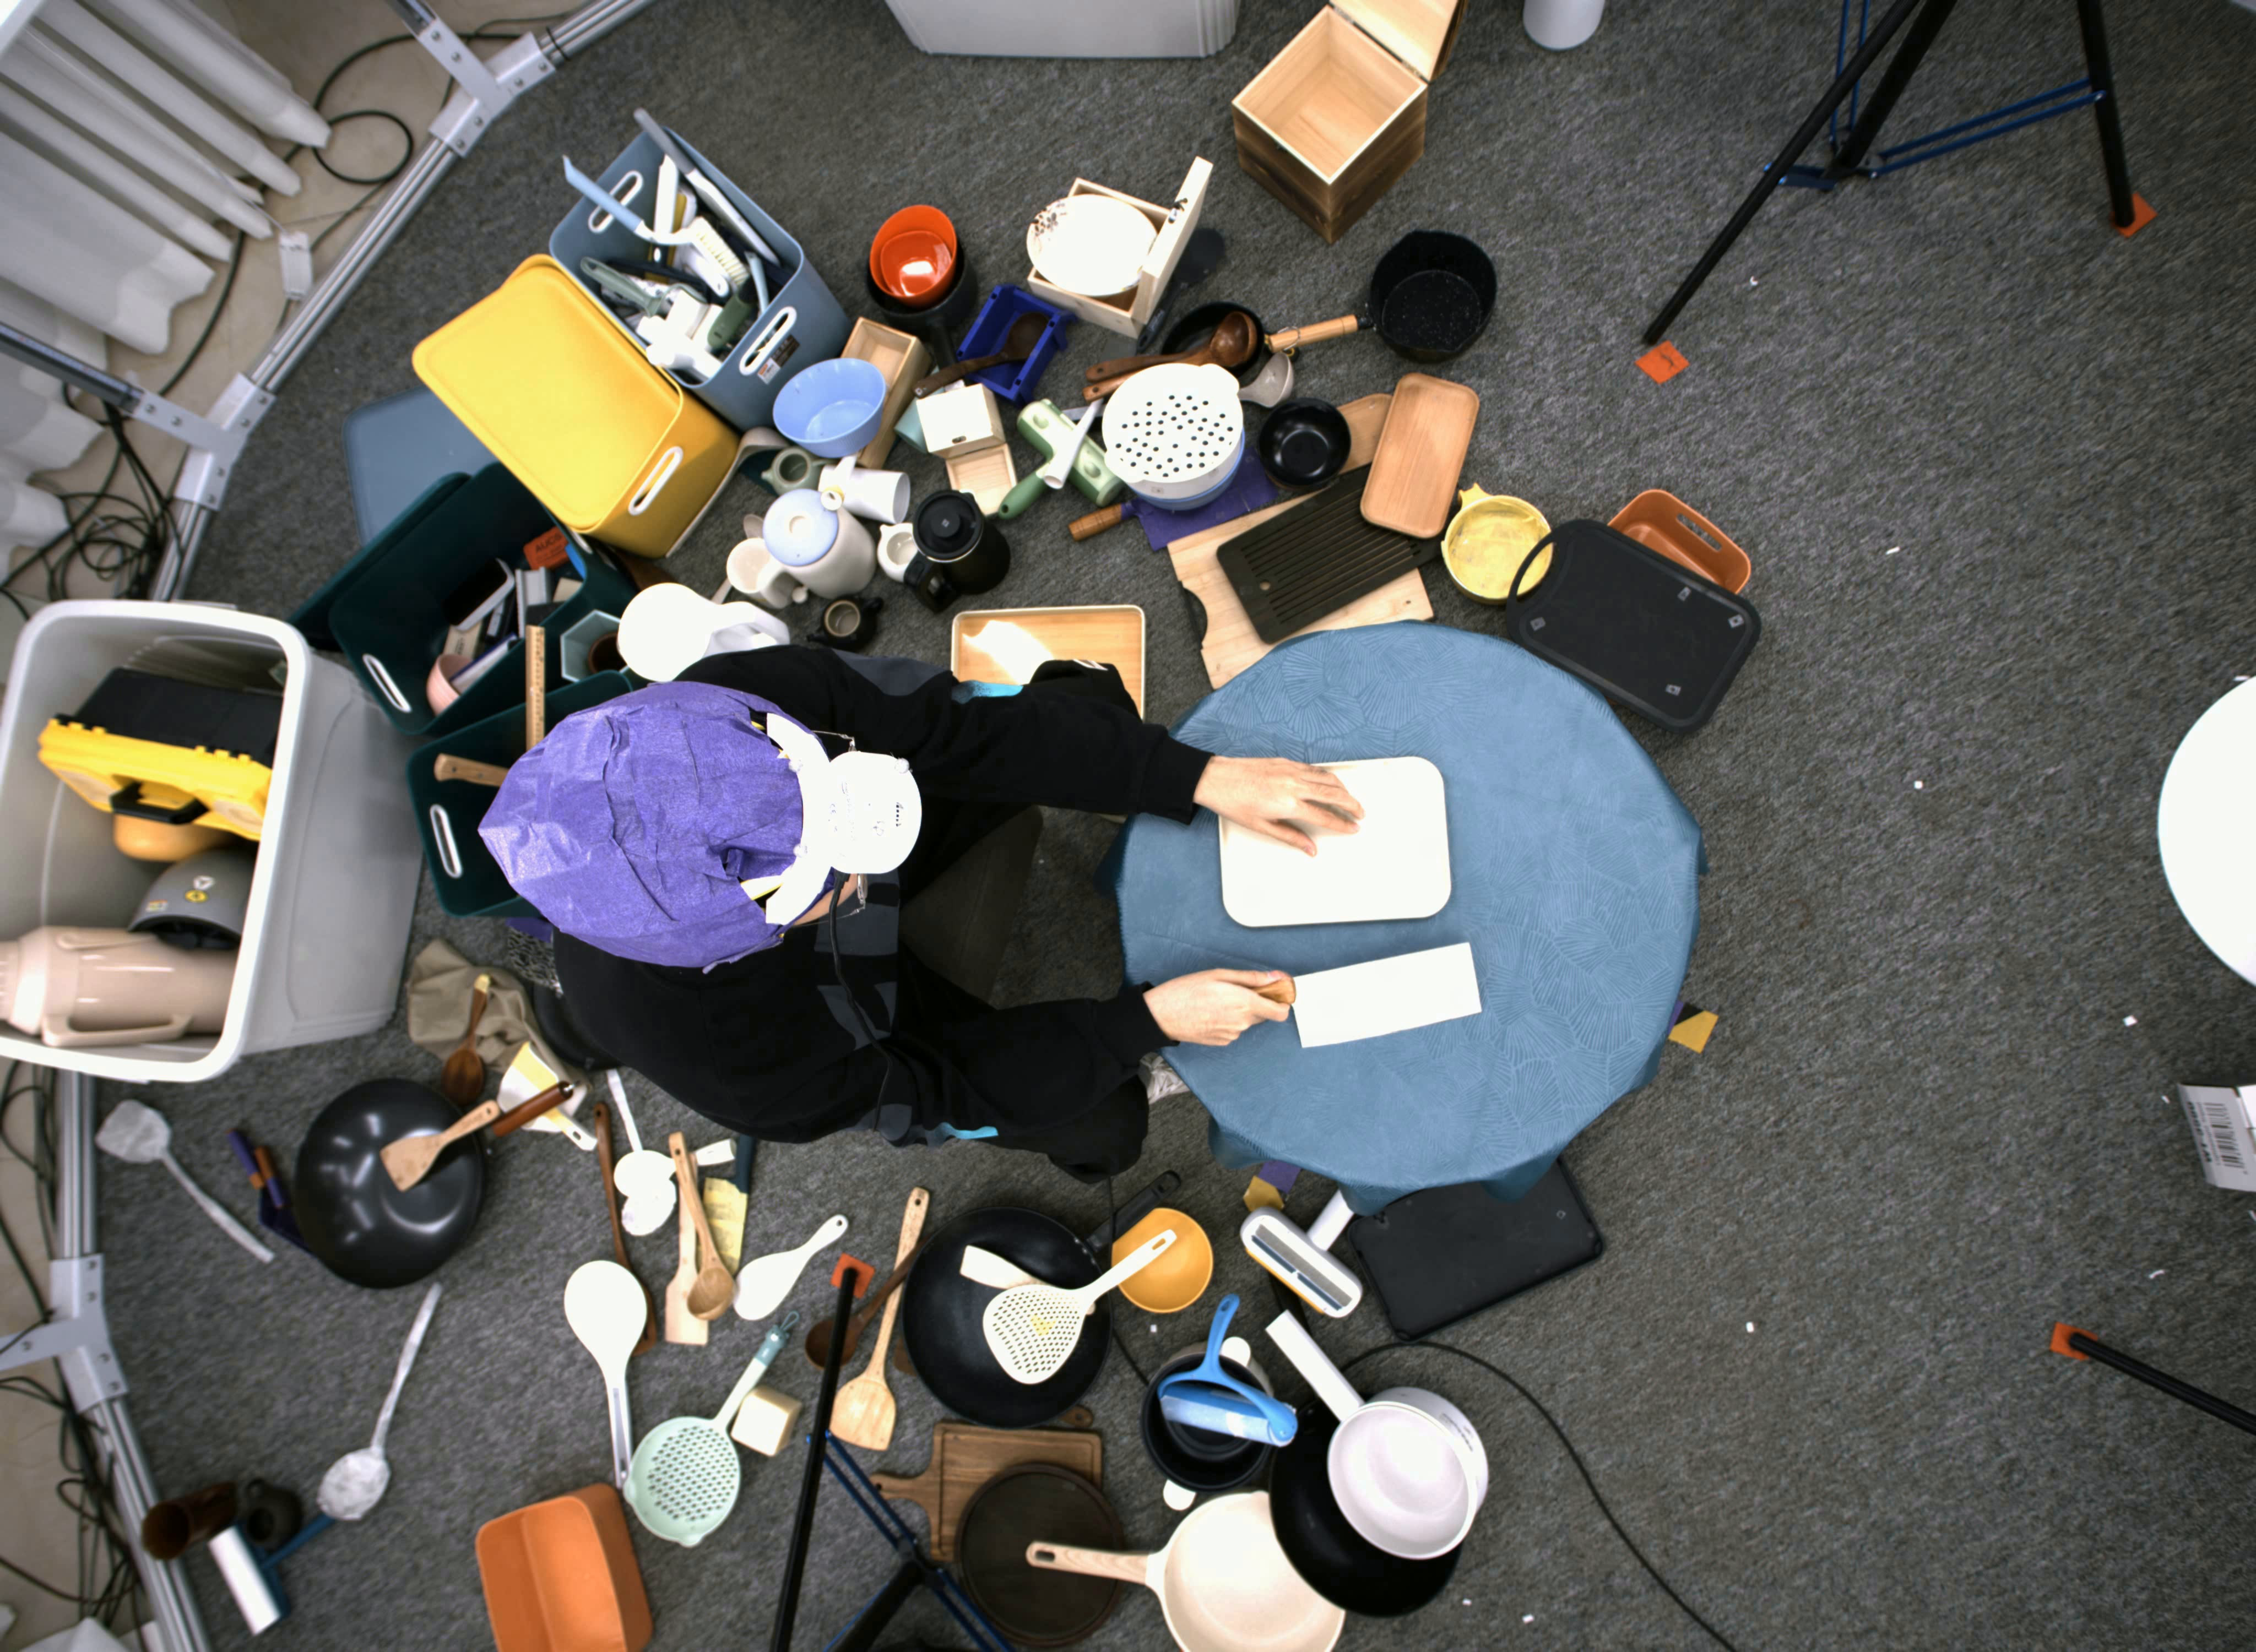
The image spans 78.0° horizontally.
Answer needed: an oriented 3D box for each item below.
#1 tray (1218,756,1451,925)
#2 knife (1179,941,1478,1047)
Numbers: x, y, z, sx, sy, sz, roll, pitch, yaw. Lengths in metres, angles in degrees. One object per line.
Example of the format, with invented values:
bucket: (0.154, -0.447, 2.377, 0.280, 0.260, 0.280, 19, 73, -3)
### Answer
tray: (0.217, 0.016, 1.463, 0.240, 0.017, 0.170, -3, 88, 10)
knife: (0.209, 0.185, 1.439, 0.307, 0.020, 0.094, -13, 116, 10)
